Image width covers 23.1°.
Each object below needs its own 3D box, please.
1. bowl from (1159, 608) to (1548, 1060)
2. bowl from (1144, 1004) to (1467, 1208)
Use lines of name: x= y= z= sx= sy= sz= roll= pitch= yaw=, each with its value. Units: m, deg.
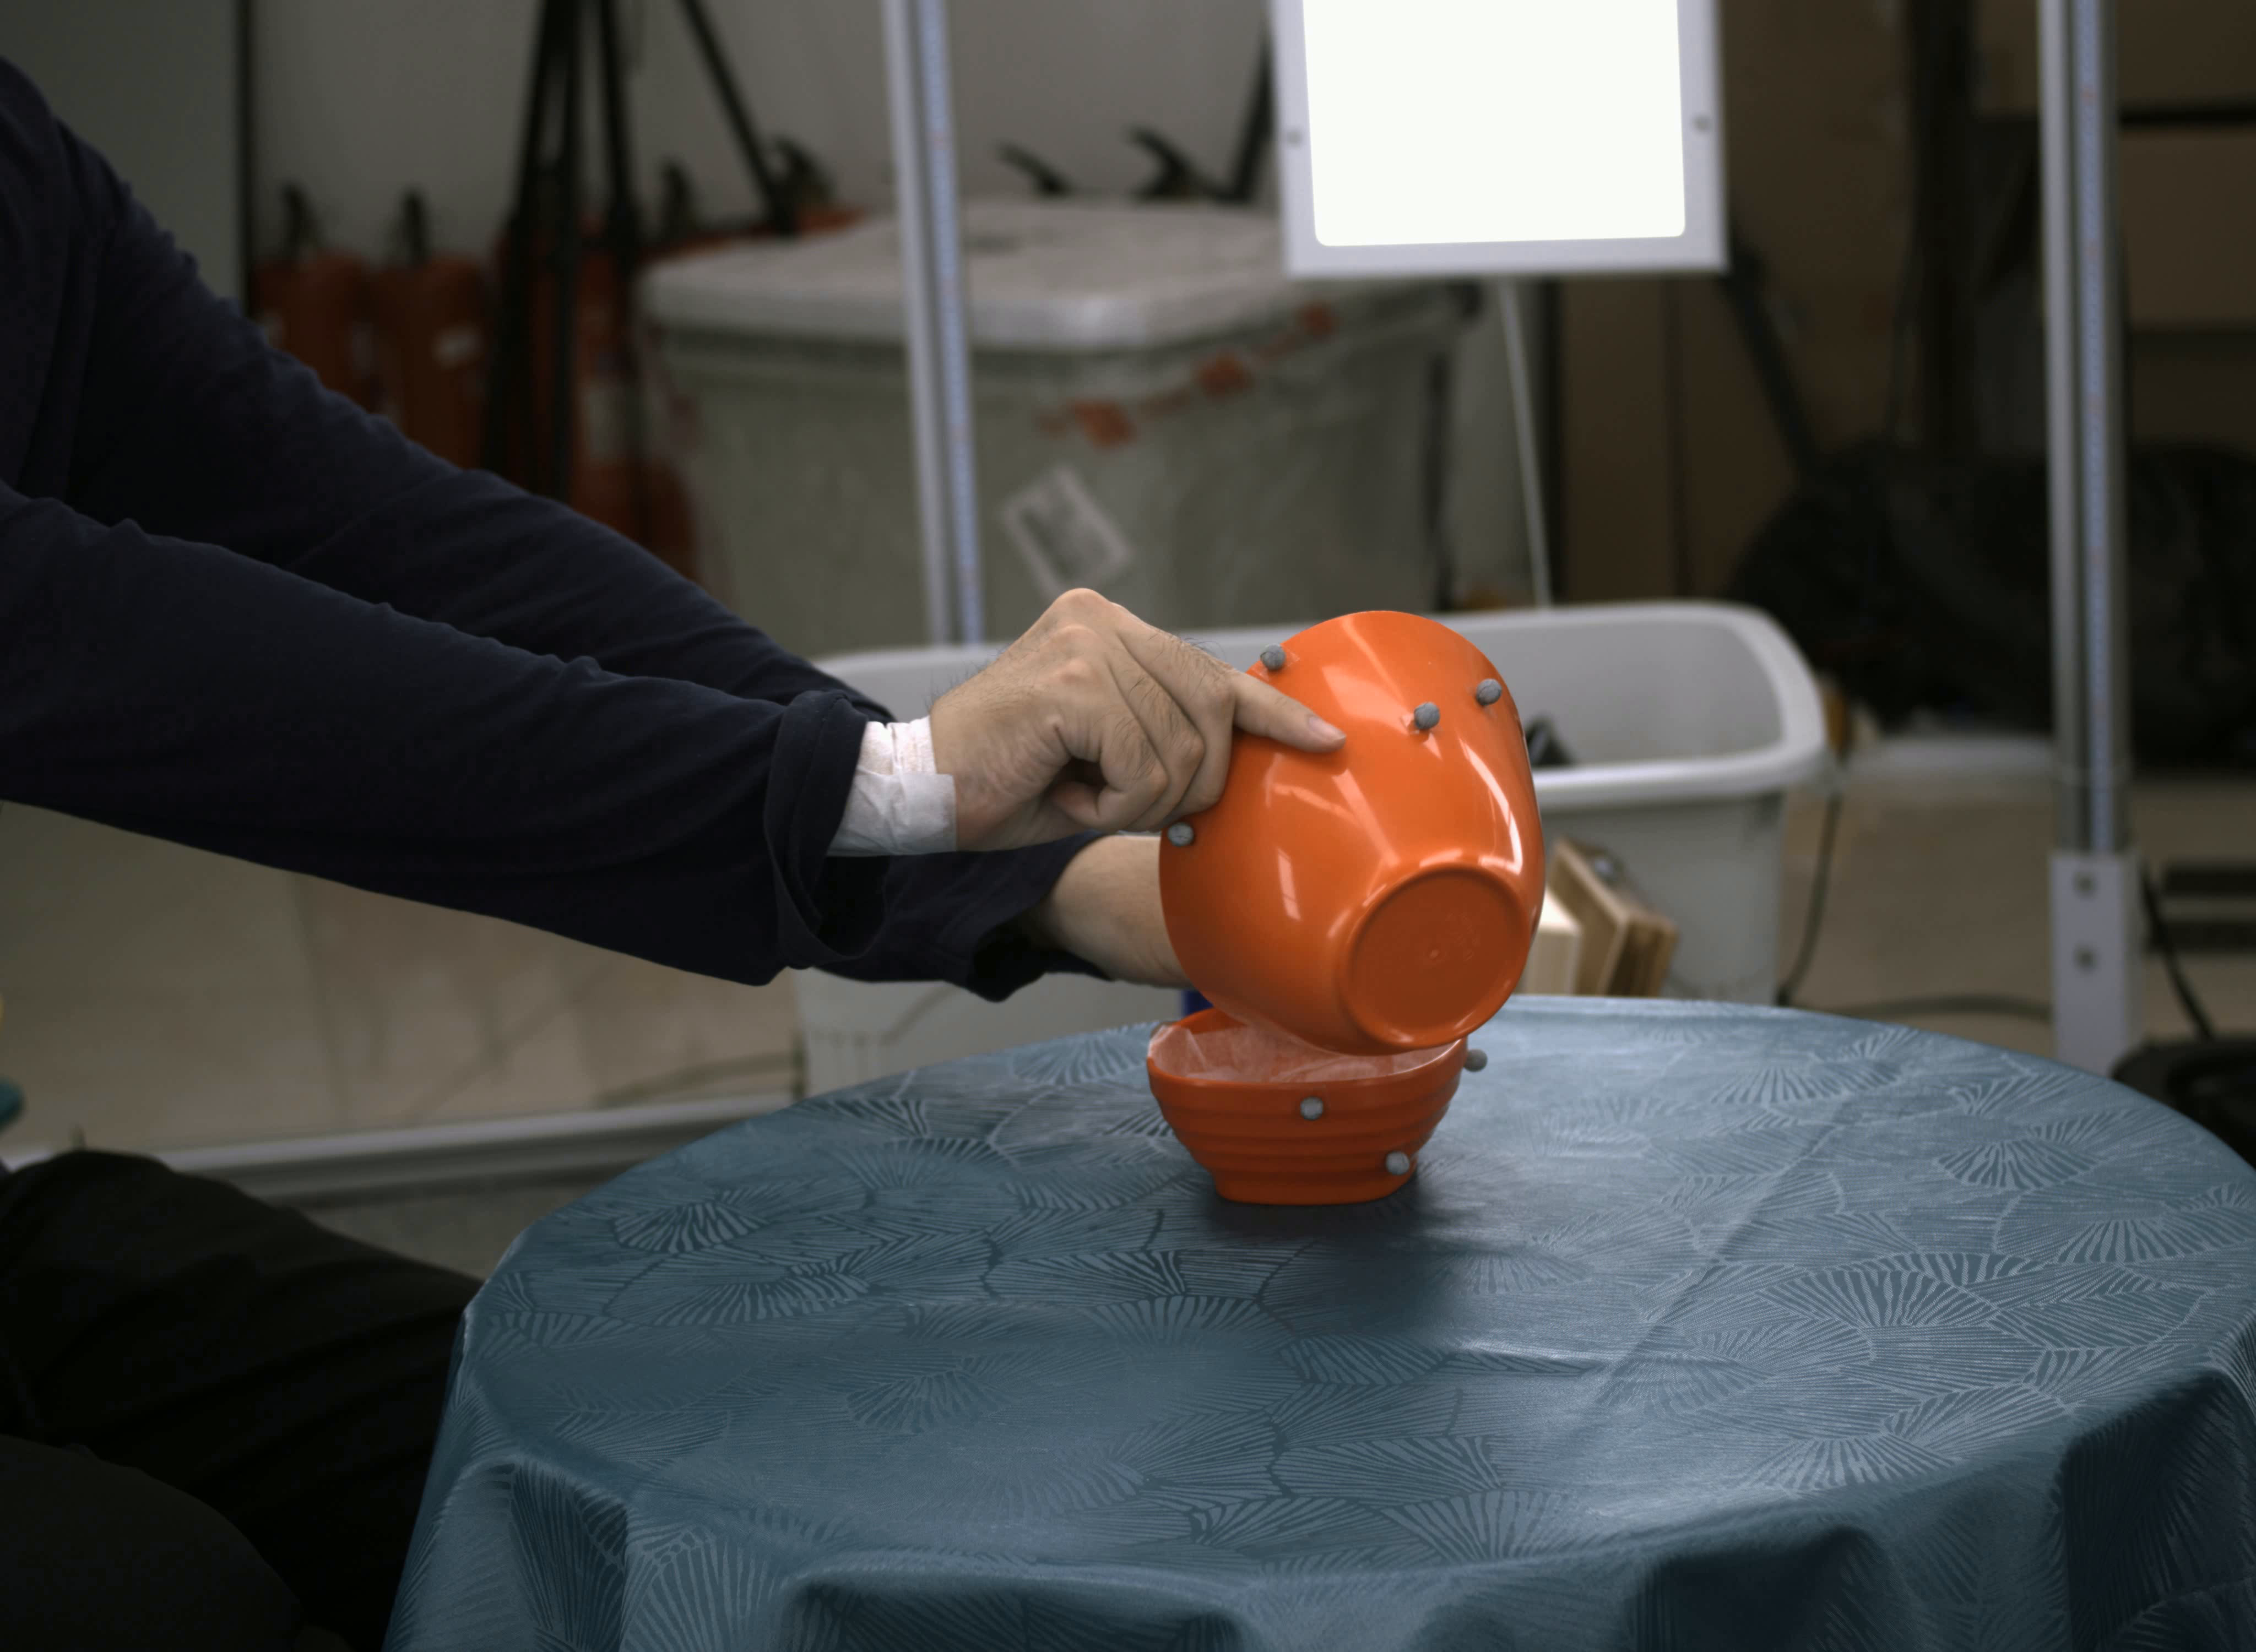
bowl: x=0.089 y=0.015 z=1.795 sx=0.145 sy=0.149 sz=0.106 roll=-9 pitch=28 yaw=-20
bowl: x=0.064 y=0.097 z=1.897 sx=0.118 sy=0.051 sz=0.119 roll=-6 pitch=15 yaw=0
